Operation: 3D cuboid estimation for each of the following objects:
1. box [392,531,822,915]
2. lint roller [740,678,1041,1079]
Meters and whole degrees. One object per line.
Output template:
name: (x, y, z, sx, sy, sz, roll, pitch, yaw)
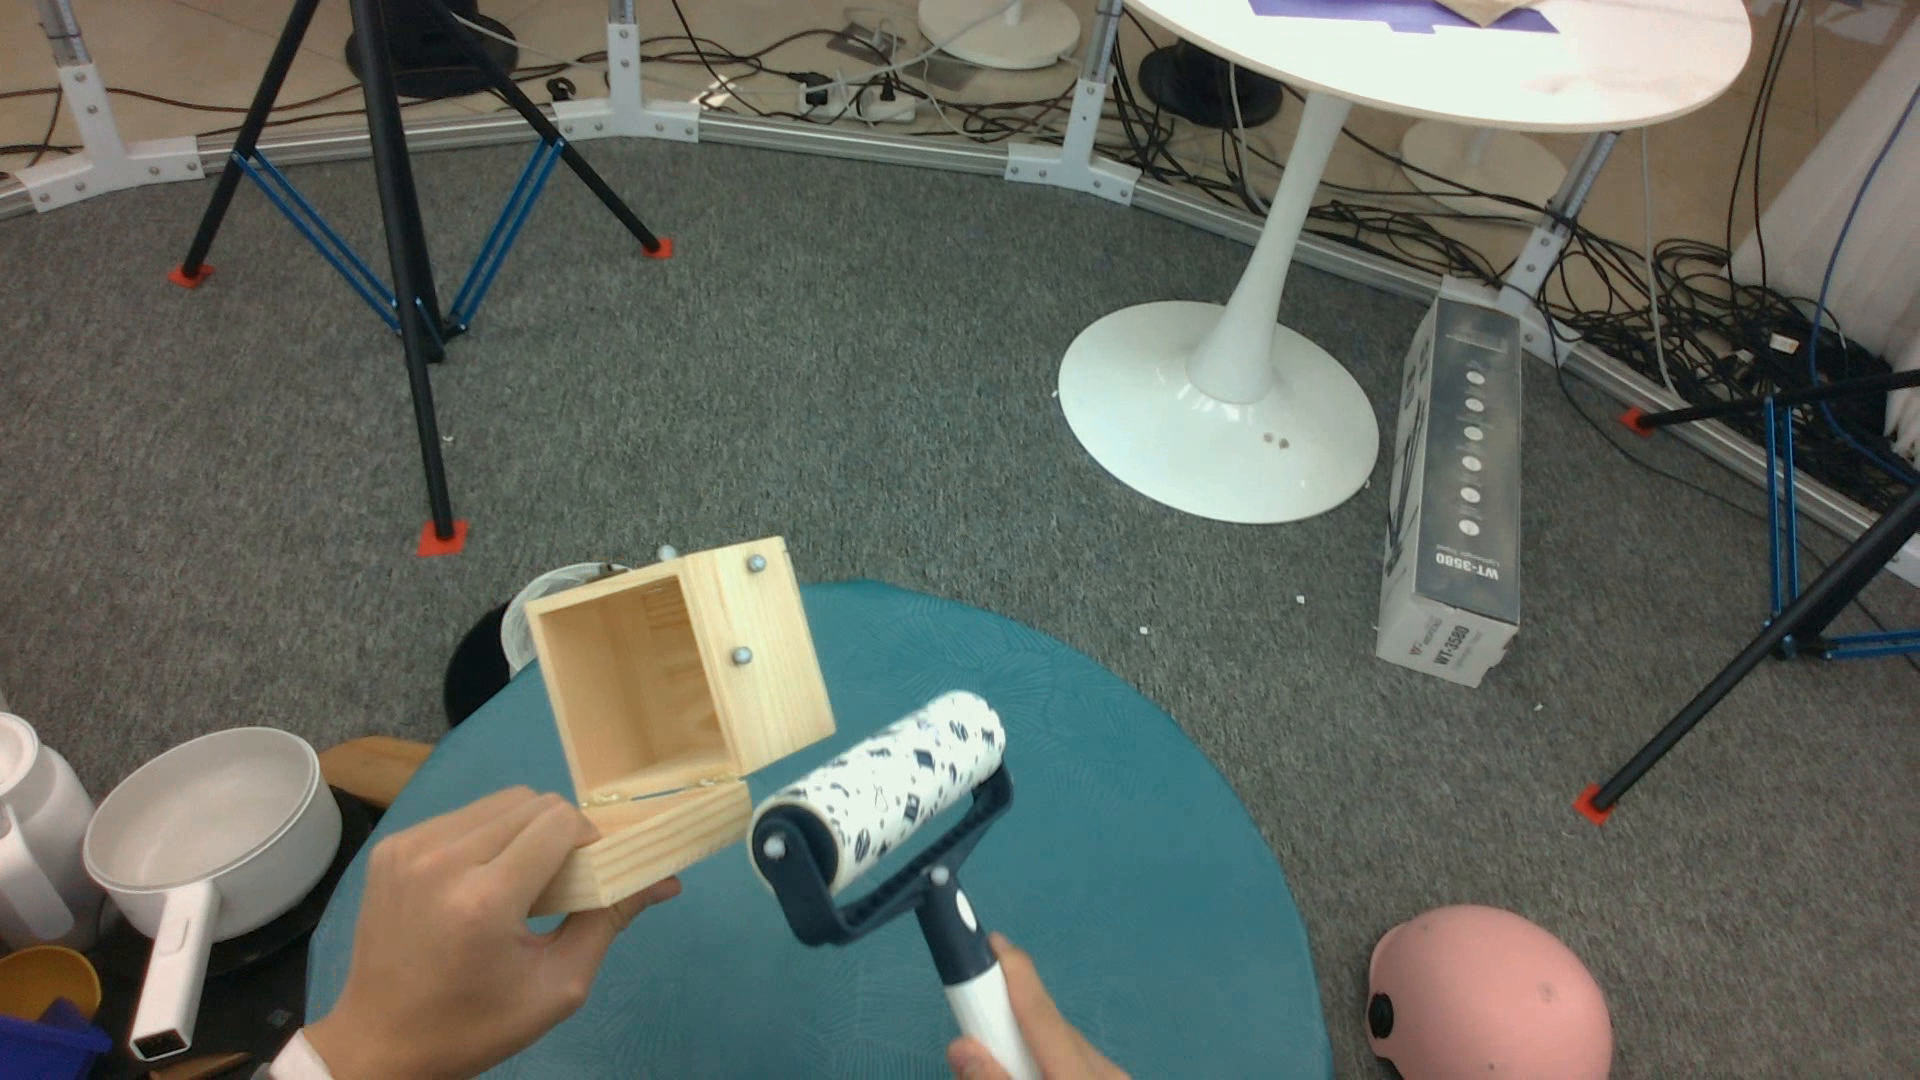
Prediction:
box: (-0.160, 0.073, 0.618, 0.102, 0.134, 0.185, -14, 0, 27)
lint roller: (0.006, 0.194, 0.619, 0.247, 0.050, 0.177, 64, 25, 1)
